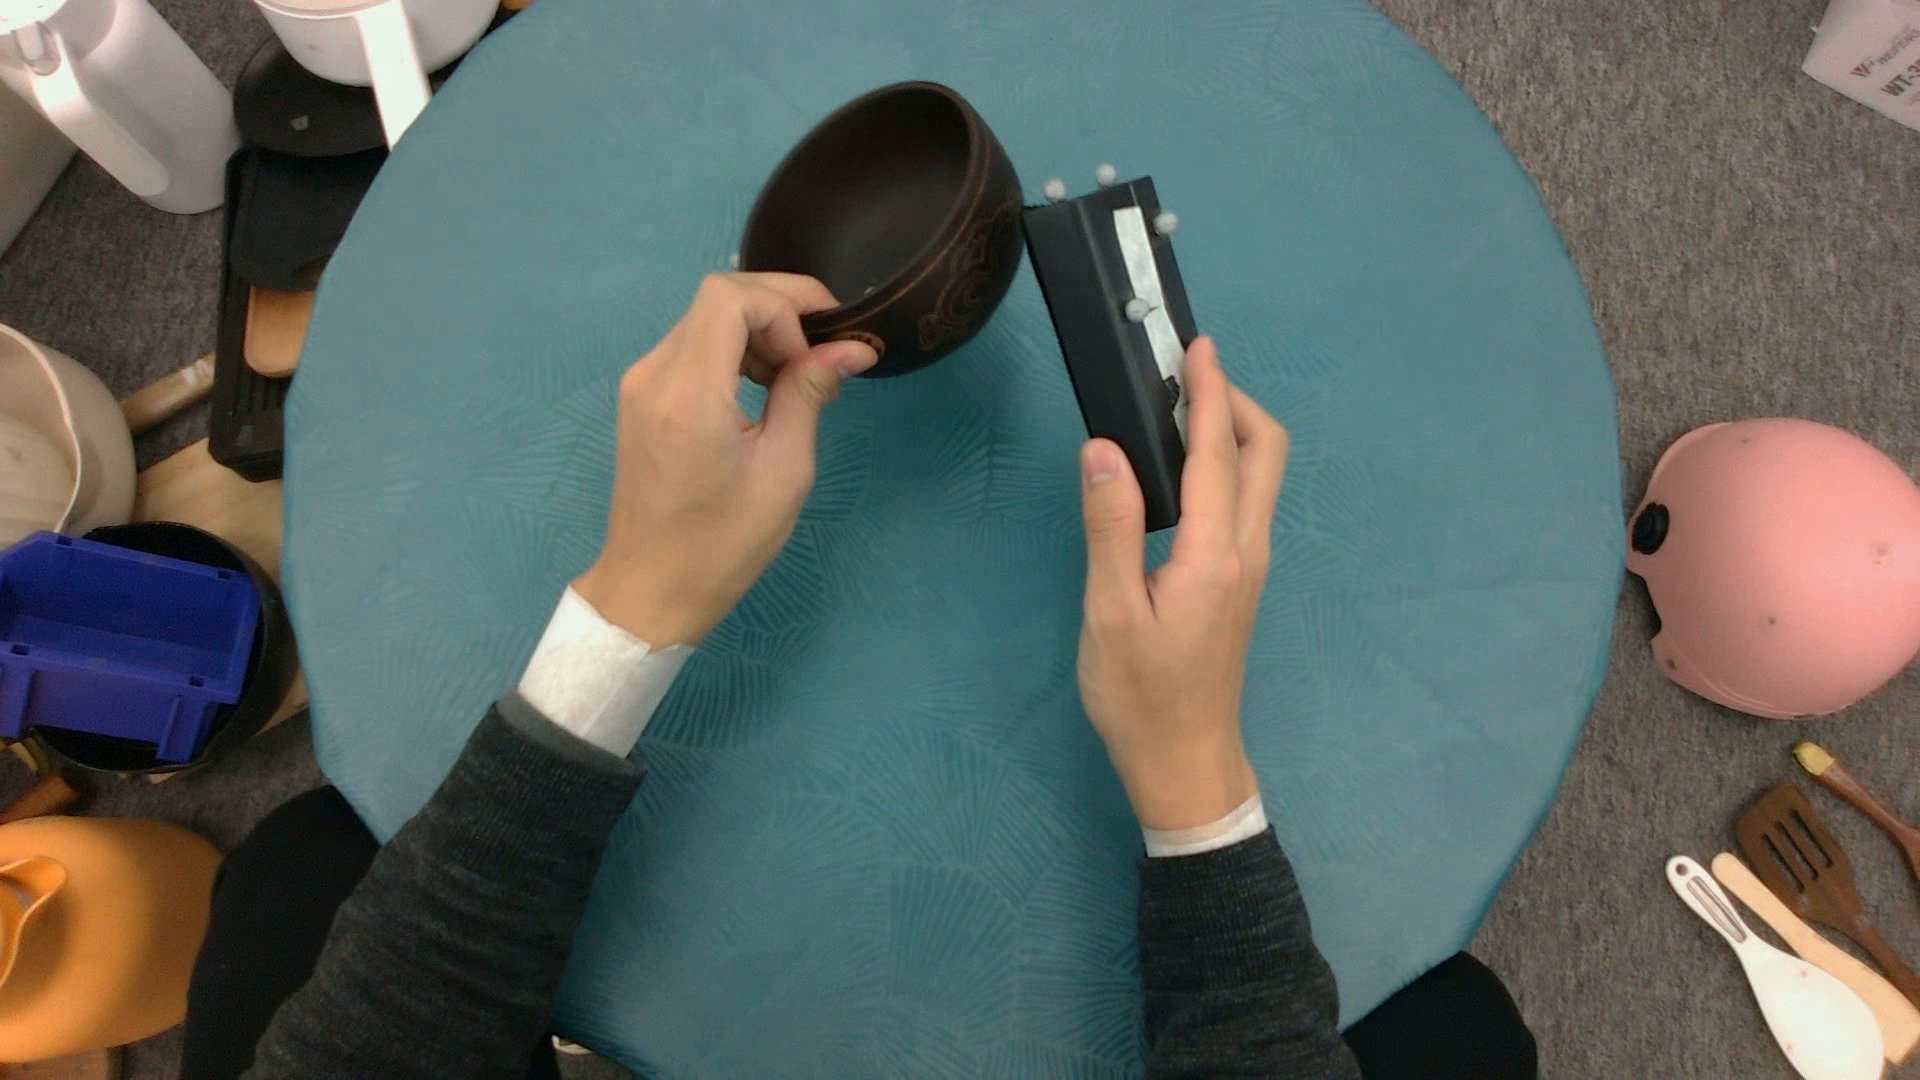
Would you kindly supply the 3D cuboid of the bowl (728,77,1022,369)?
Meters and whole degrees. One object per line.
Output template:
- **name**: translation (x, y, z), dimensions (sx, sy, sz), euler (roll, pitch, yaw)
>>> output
- **bowl**: translation (-0.027, -0.119, 0.555), dimensions (0.117, 0.070, 0.118), euler (-16, 53, 23)

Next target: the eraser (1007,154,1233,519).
- **eraser**: translation (0.060, -0.073, 0.506), dimensions (0.054, 0.030, 0.125), euler (-31, 106, -42)
